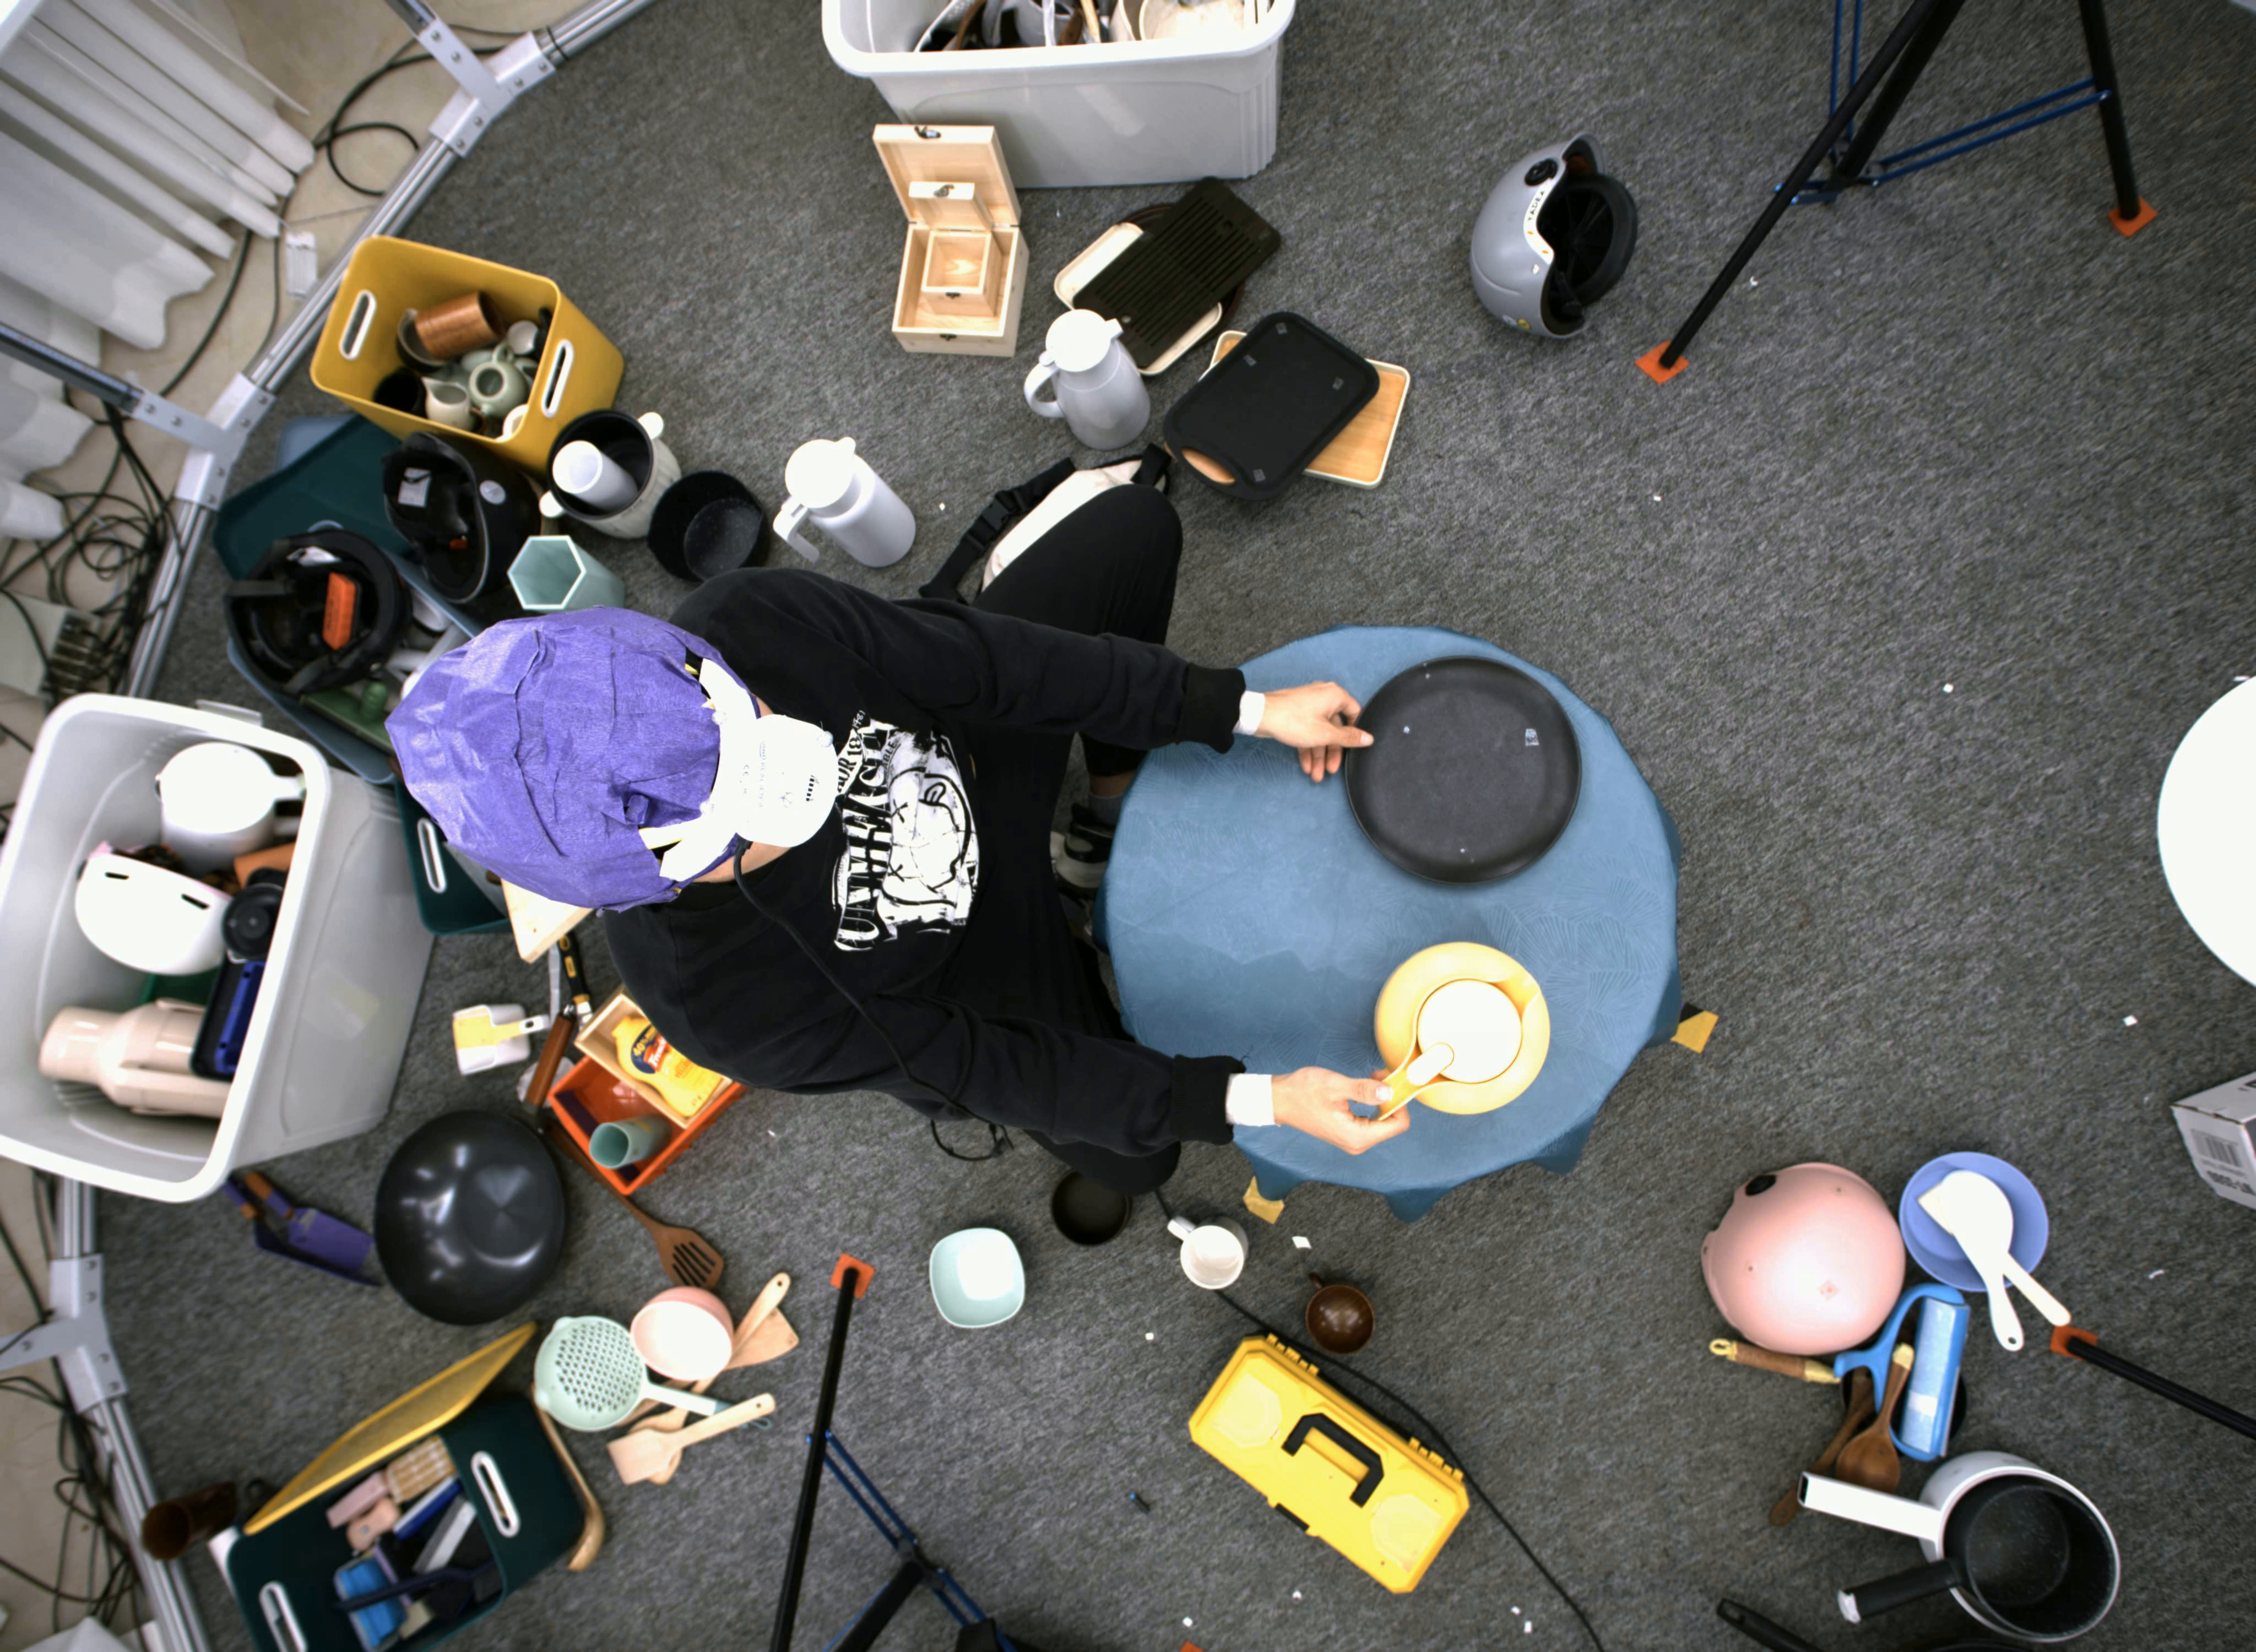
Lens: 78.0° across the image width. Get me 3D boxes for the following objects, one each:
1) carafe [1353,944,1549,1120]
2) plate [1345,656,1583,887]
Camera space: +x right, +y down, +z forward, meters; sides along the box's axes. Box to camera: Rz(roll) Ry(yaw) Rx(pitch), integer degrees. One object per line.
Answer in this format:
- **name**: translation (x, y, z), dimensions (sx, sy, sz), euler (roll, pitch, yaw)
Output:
- **carafe**: translation (0.300, 0.202, 1.316), dimensions (0.203, 0.261, 0.162), euler (-37, 77, 4)
- **plate**: translation (0.350, -0.059, 1.440), dimensions (0.245, 0.023, 0.243), euler (-1, 87, 11)
